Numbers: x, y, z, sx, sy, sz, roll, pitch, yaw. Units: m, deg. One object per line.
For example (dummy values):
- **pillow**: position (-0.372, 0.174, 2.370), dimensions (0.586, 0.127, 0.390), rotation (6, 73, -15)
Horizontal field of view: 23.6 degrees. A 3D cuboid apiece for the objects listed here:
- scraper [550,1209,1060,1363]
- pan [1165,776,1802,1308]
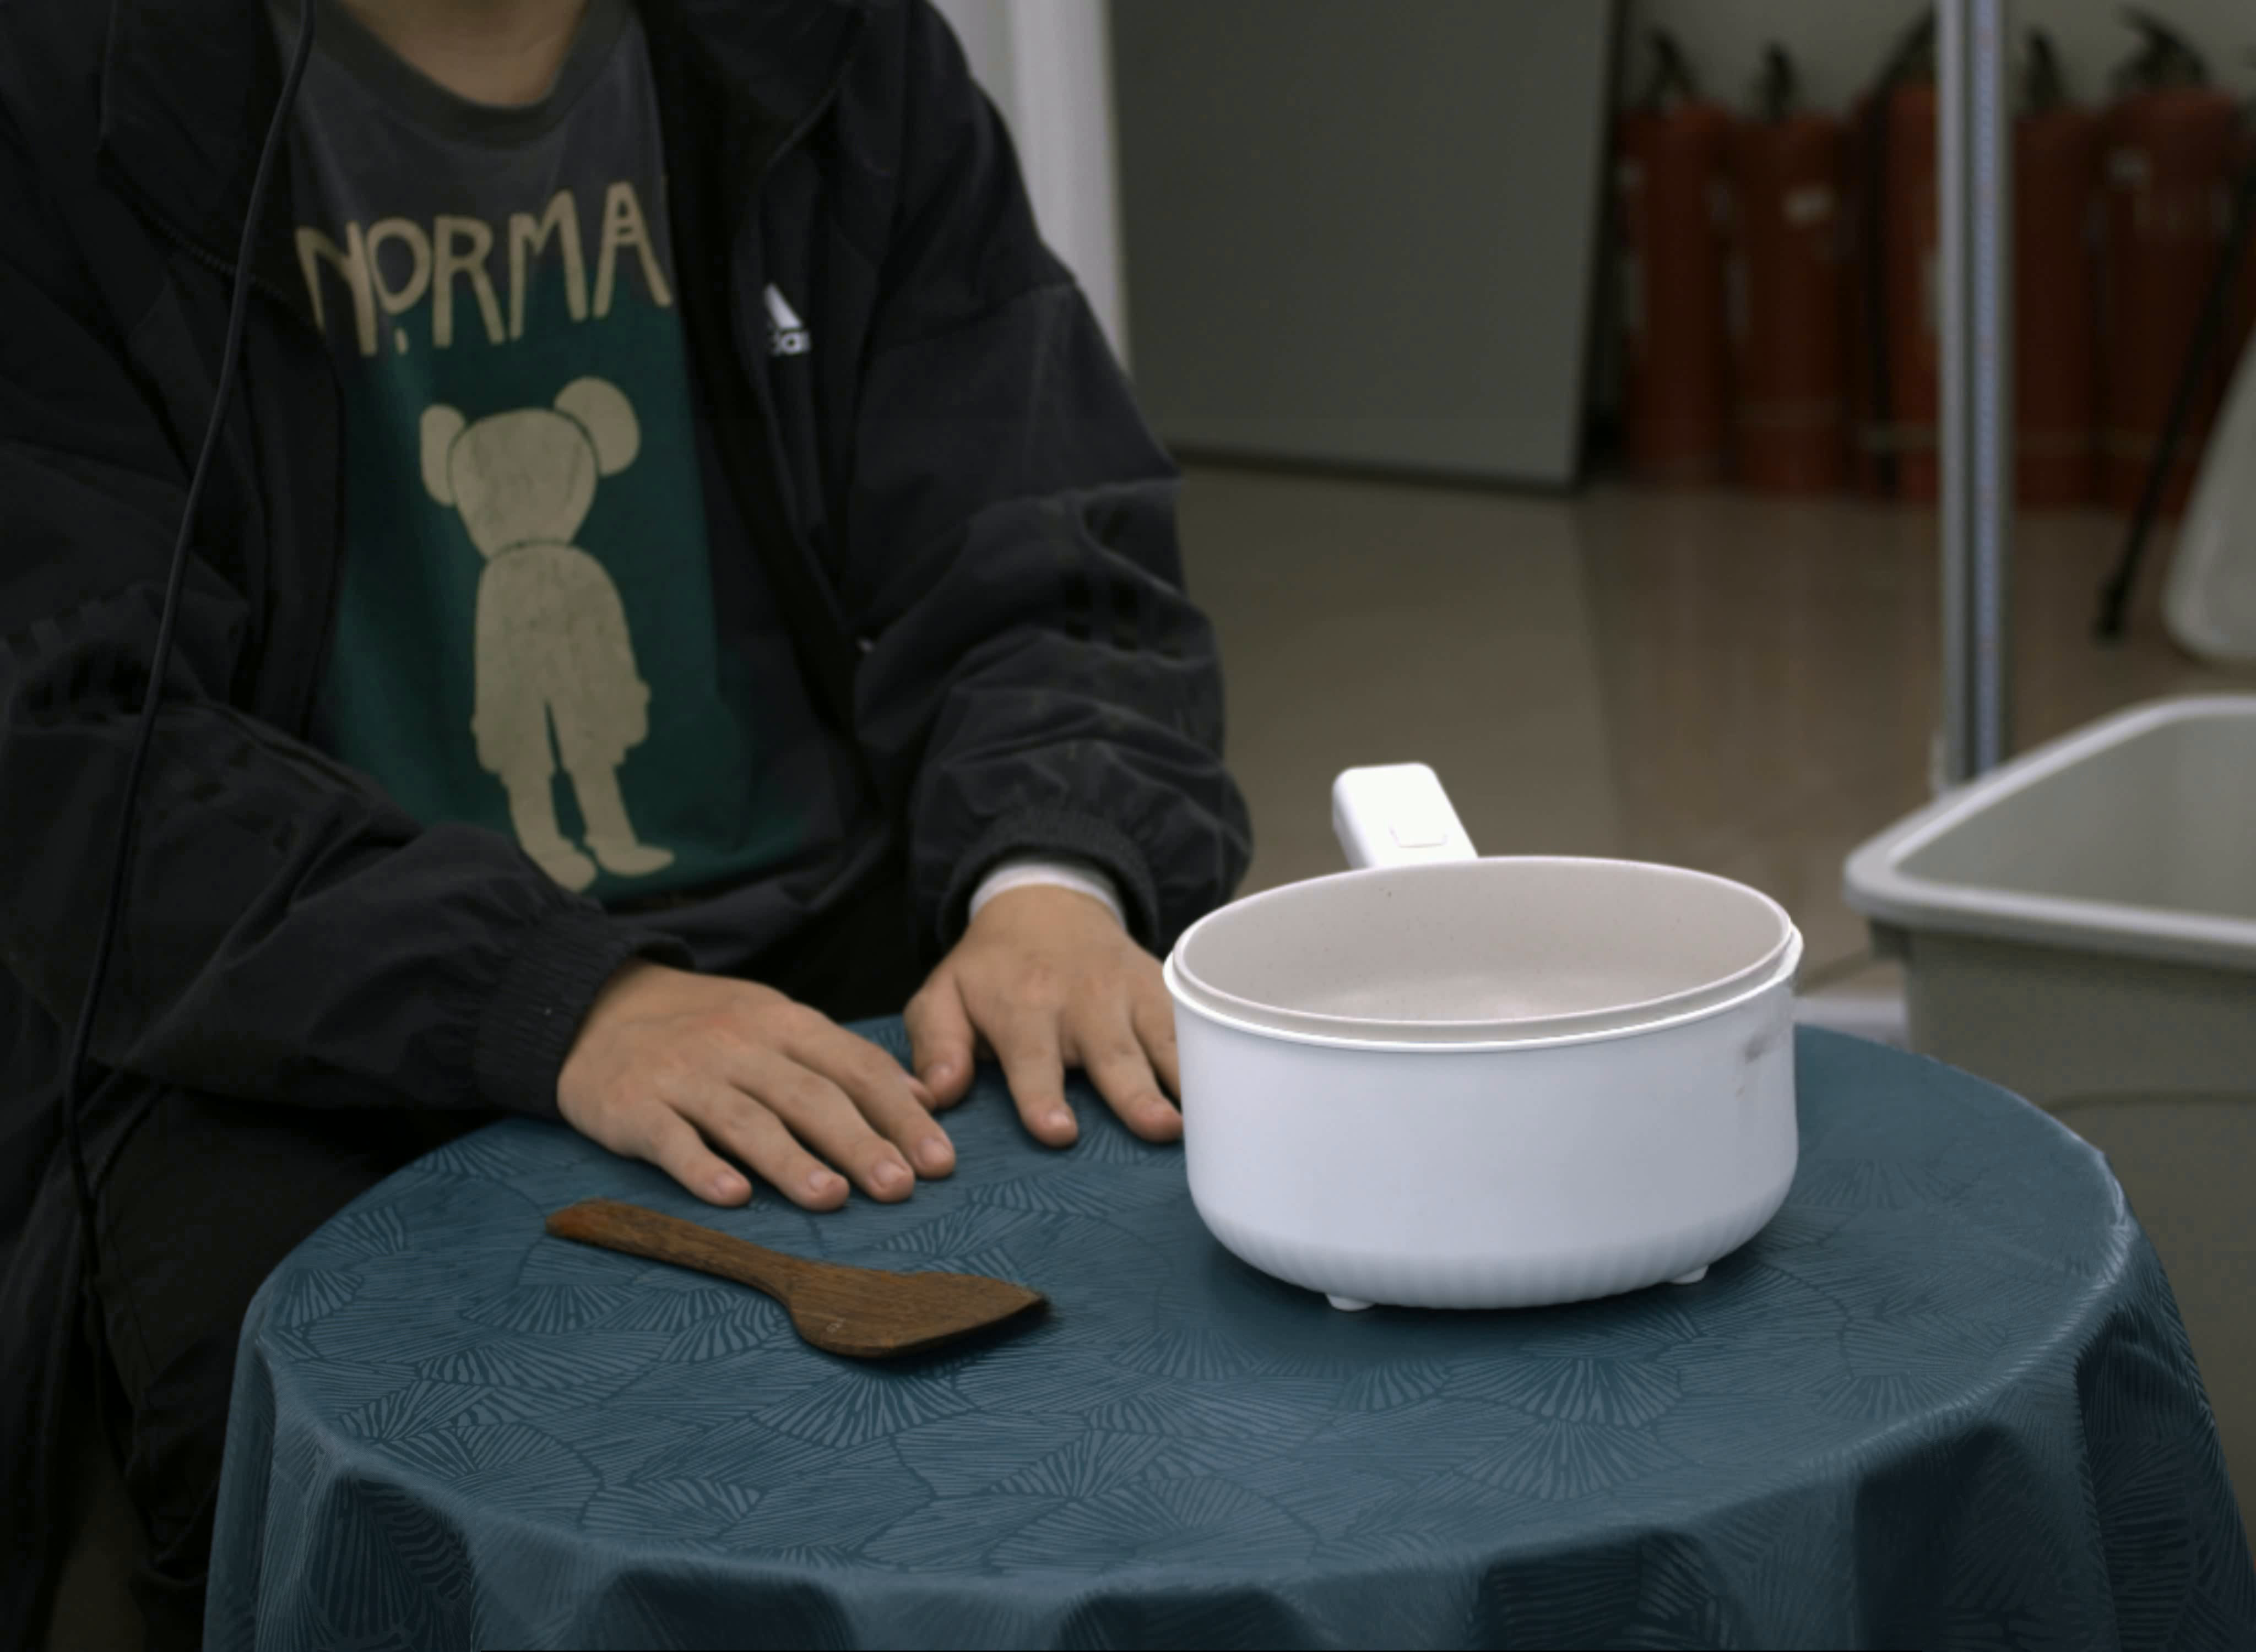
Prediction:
- **scraper**: position (-0.111, 0.143, 1.706), dimensions (0.074, 0.011, 0.213), rotation (-15, 16, -40)
- **pan**: position (0.109, 0.066, 1.763), dimensions (0.198, 0.103, 0.355), rotation (-5, 12, -2)
